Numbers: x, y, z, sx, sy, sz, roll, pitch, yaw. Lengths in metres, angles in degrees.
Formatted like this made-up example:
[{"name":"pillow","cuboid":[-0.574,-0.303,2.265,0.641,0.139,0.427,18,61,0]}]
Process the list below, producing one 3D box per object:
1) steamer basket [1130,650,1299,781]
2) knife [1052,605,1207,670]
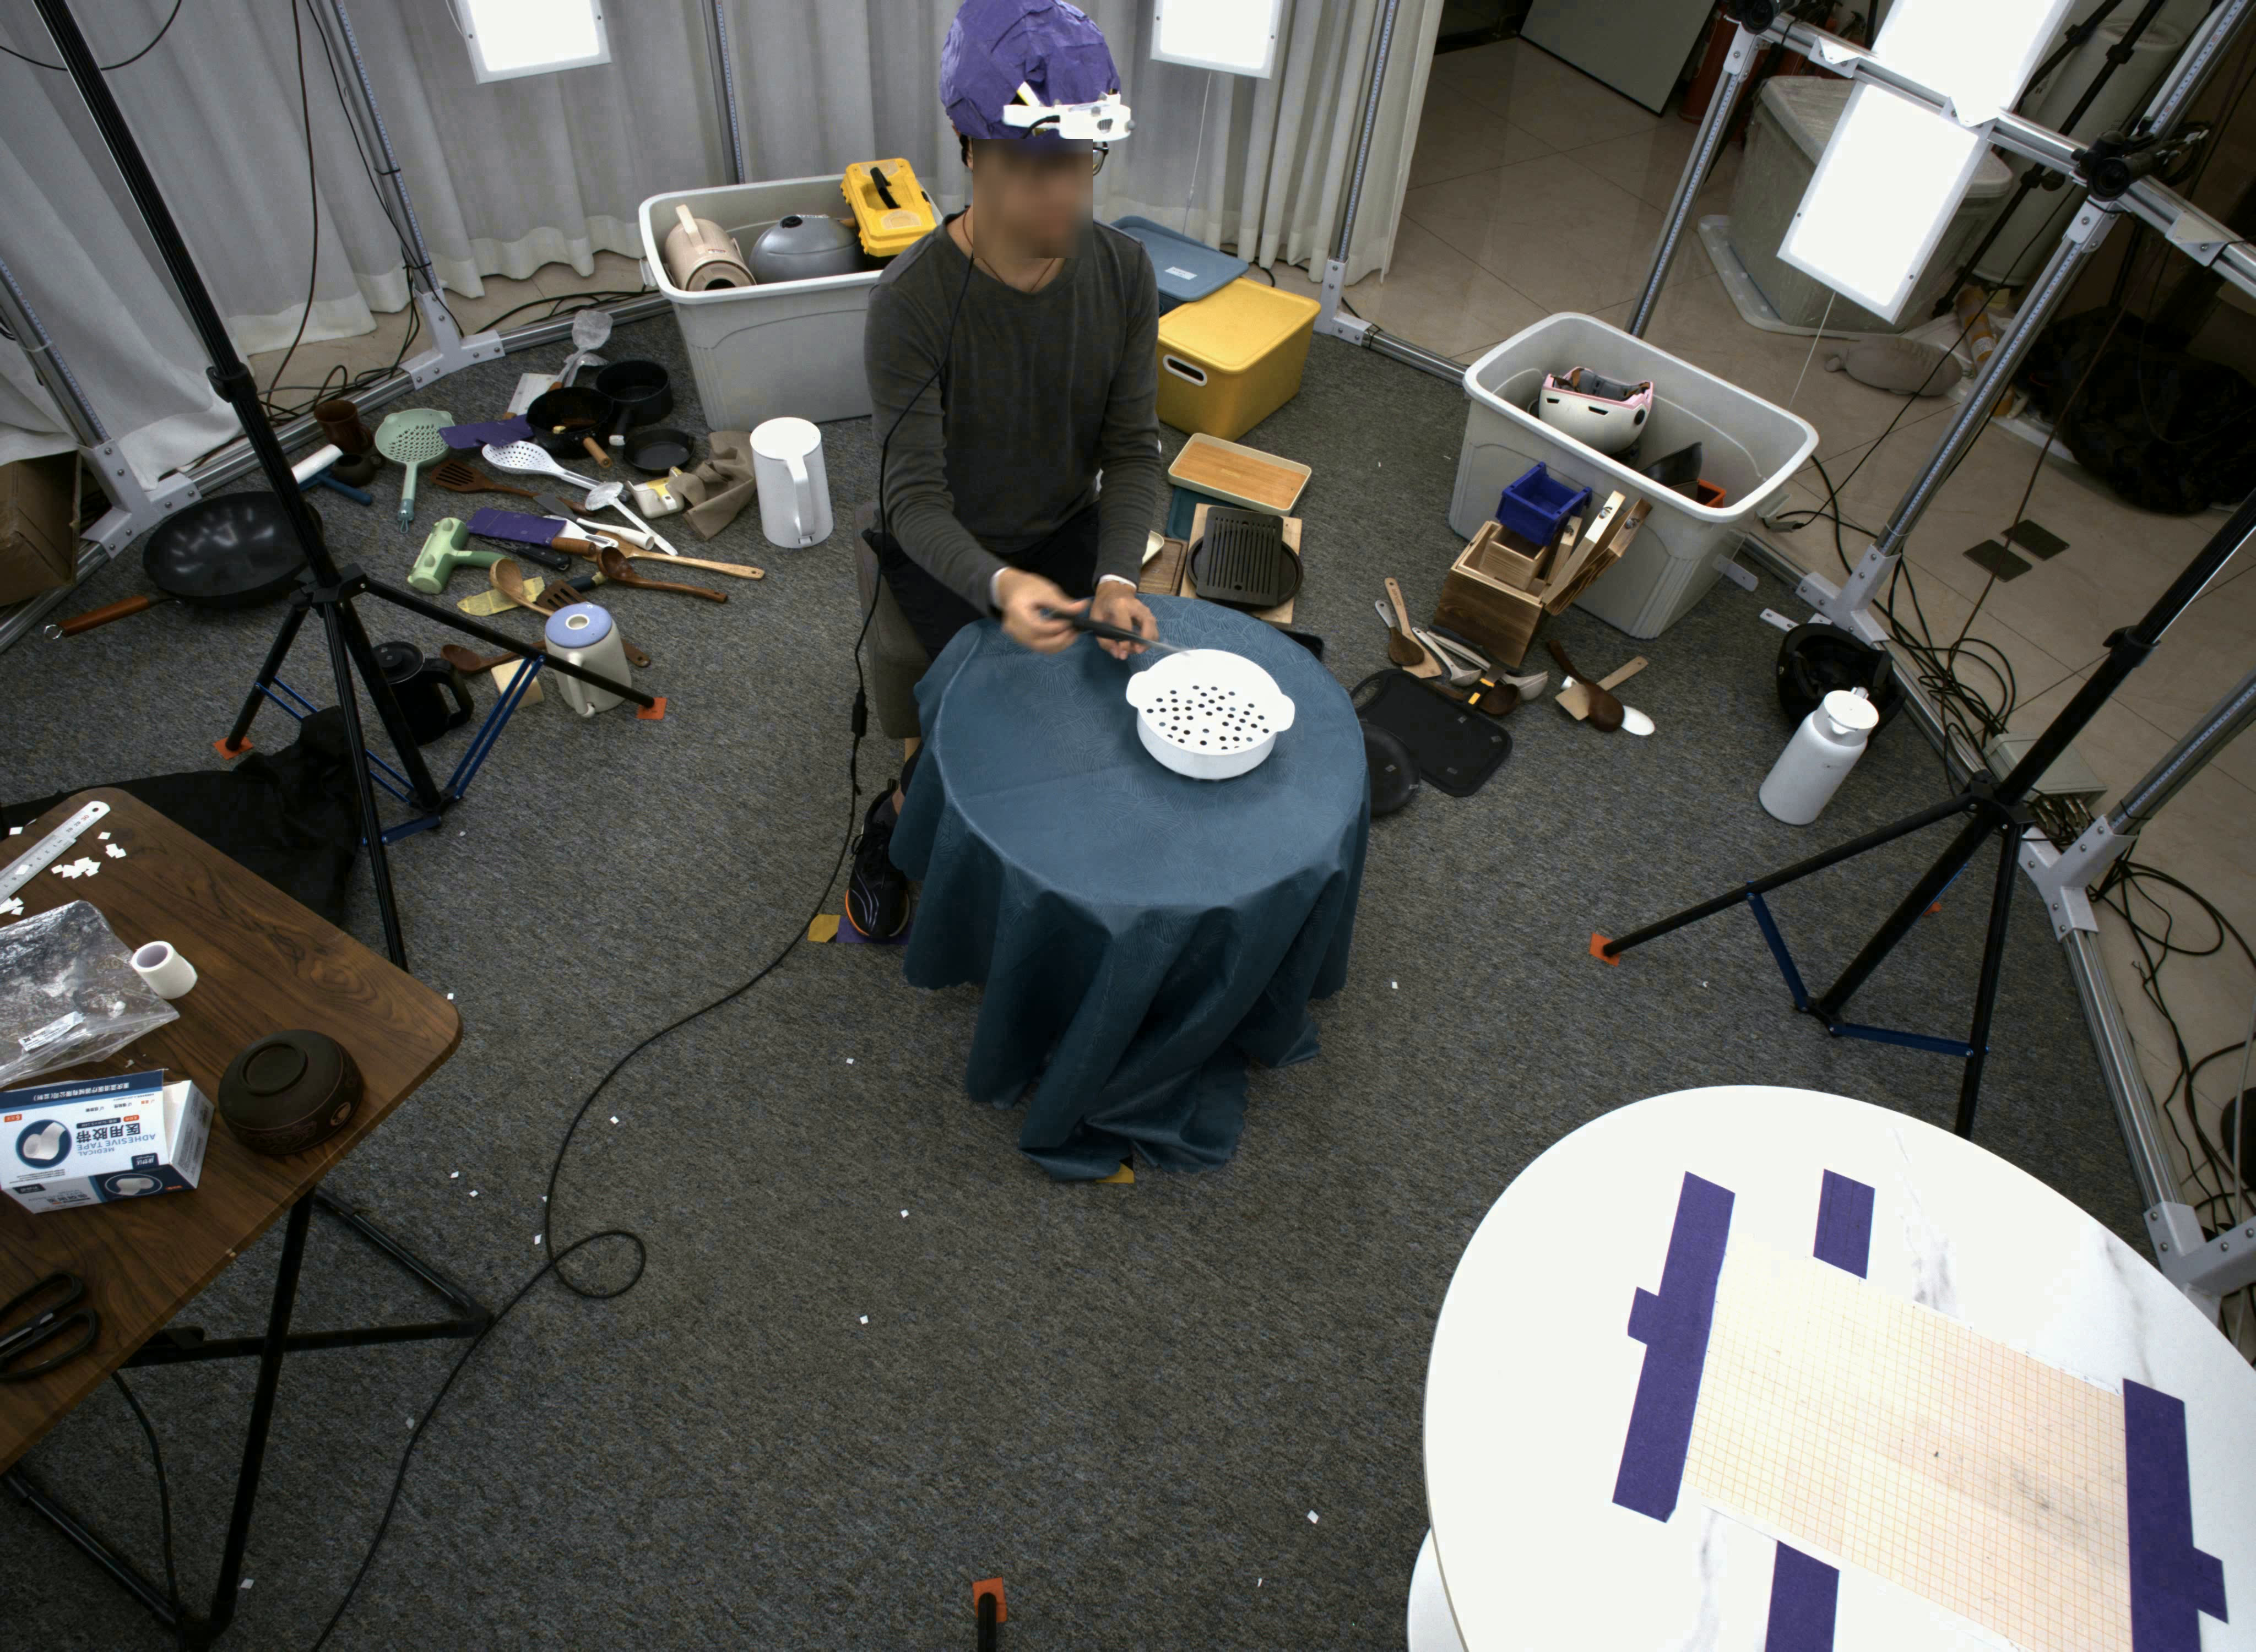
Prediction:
[{"name":"steamer basket","cuboid":[0.116,-0.152,1.763,0.231,0.067,0.206,10,49,6]},{"name":"knife","cuboid":[0.009,-0.225,1.557,0.235,0.024,0.016,16,72,-35]}]
